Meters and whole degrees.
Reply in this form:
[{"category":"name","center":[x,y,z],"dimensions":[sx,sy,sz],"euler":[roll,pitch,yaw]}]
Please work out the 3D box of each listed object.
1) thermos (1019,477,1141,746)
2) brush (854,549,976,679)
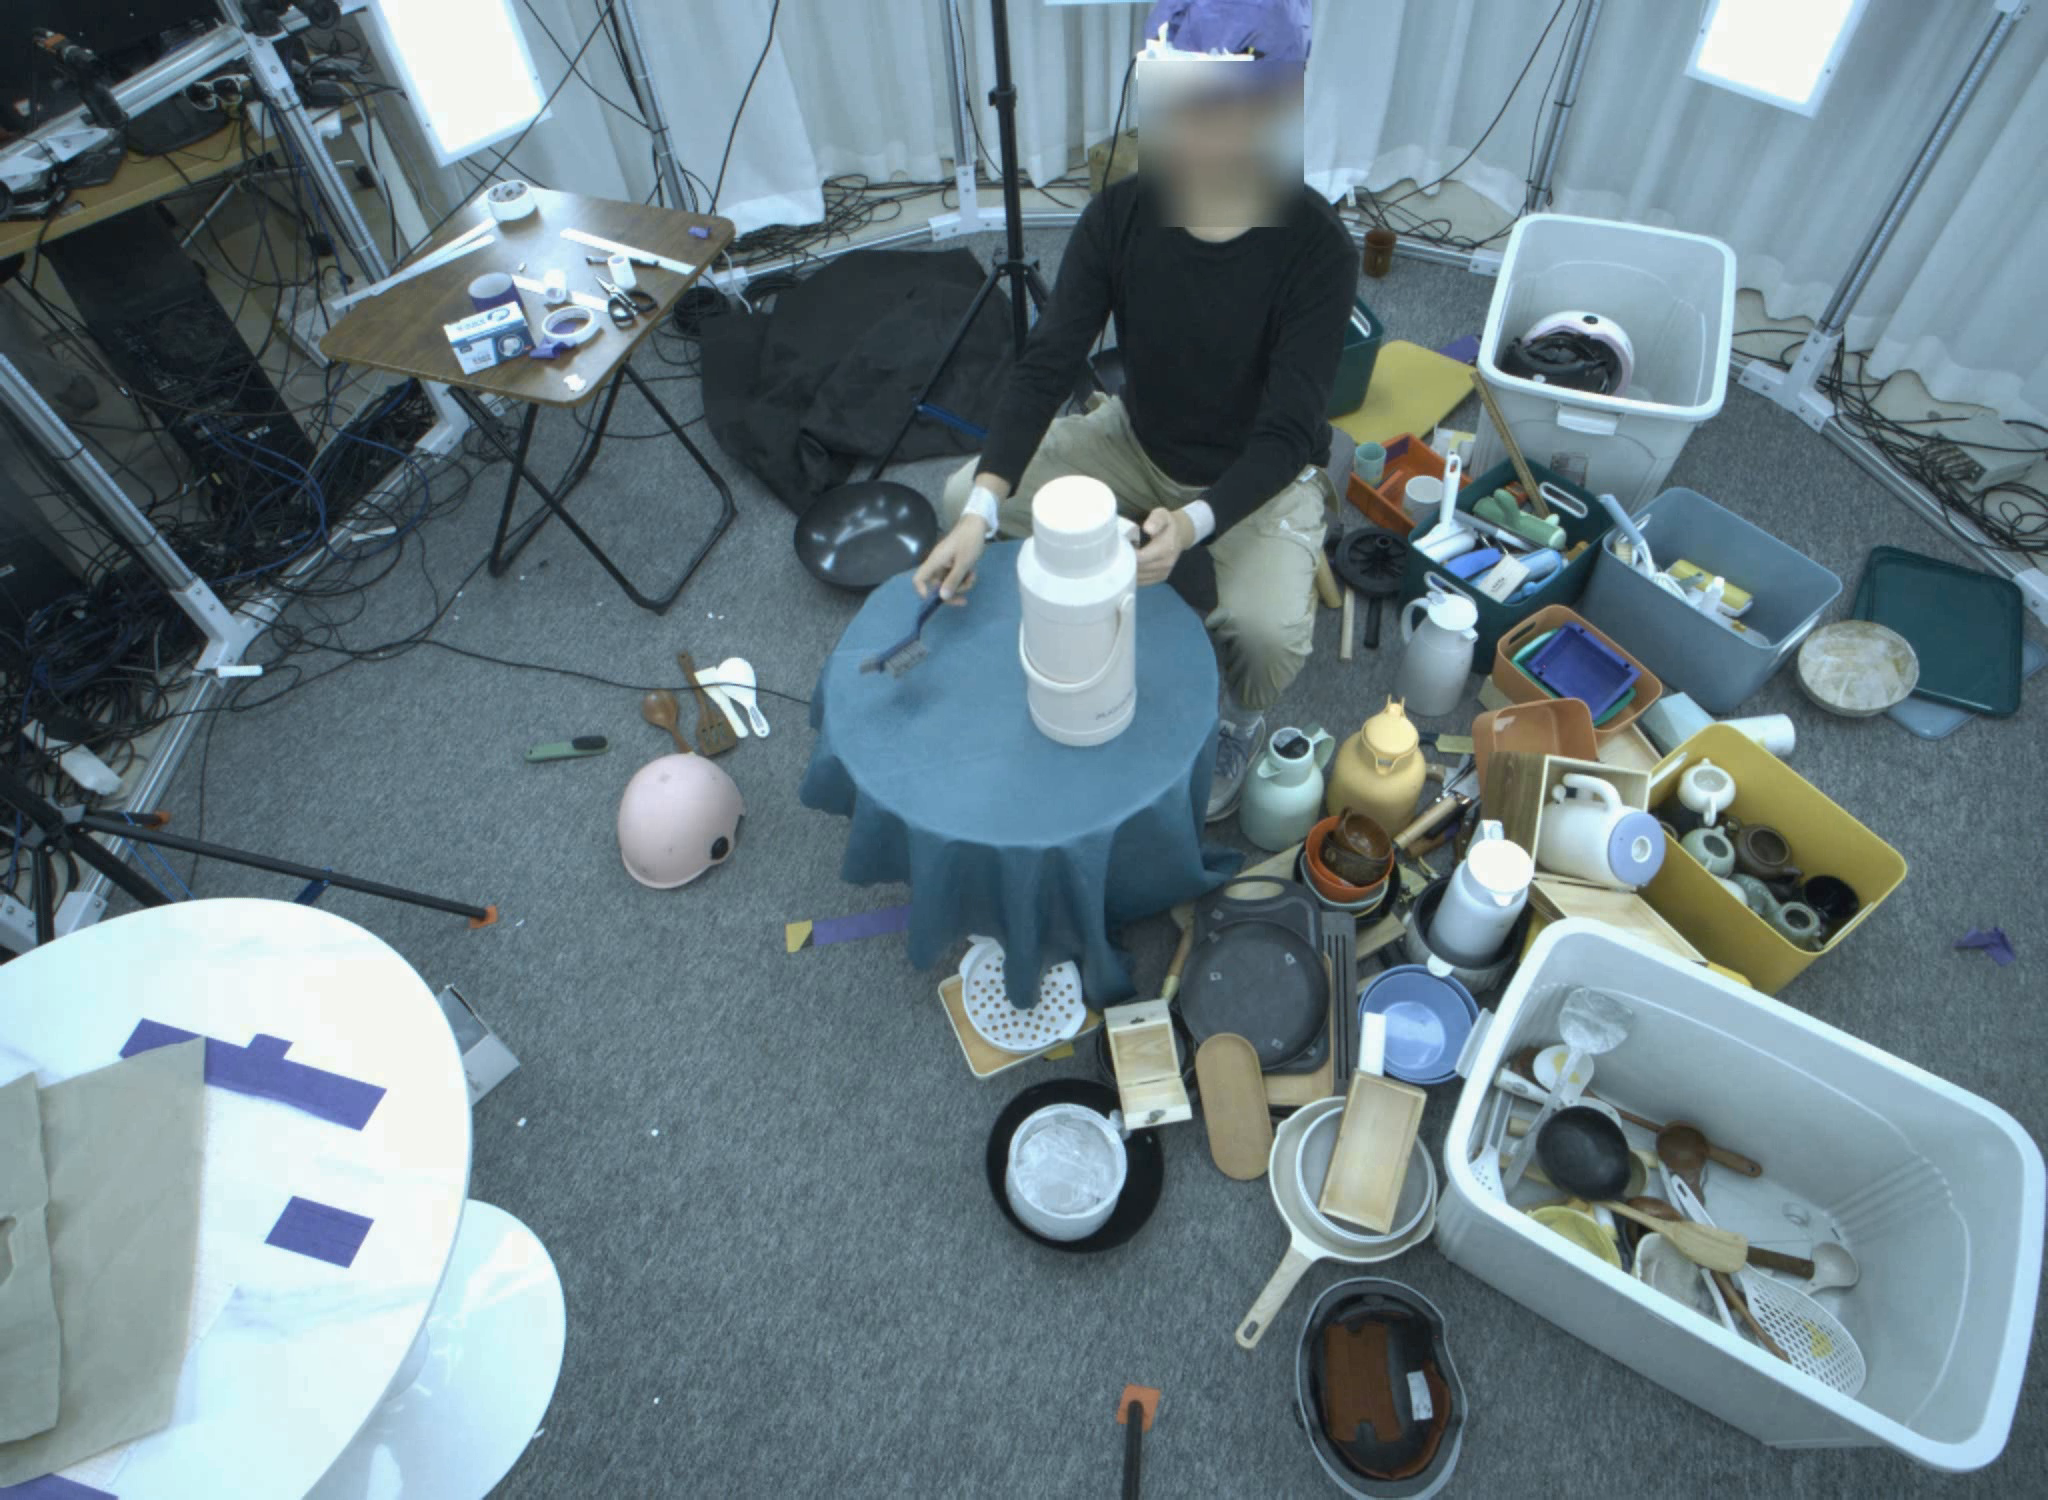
[{"category":"thermos","center":[0.087,-0.193,1.677],"dimensions":[0.172,0.411,0.208],"euler":[32,63,25]},{"category":"brush","center":[-0.158,-0.212,1.863],"dimensions":[0.095,0.034,0.273],"euler":[18,56,14]}]
